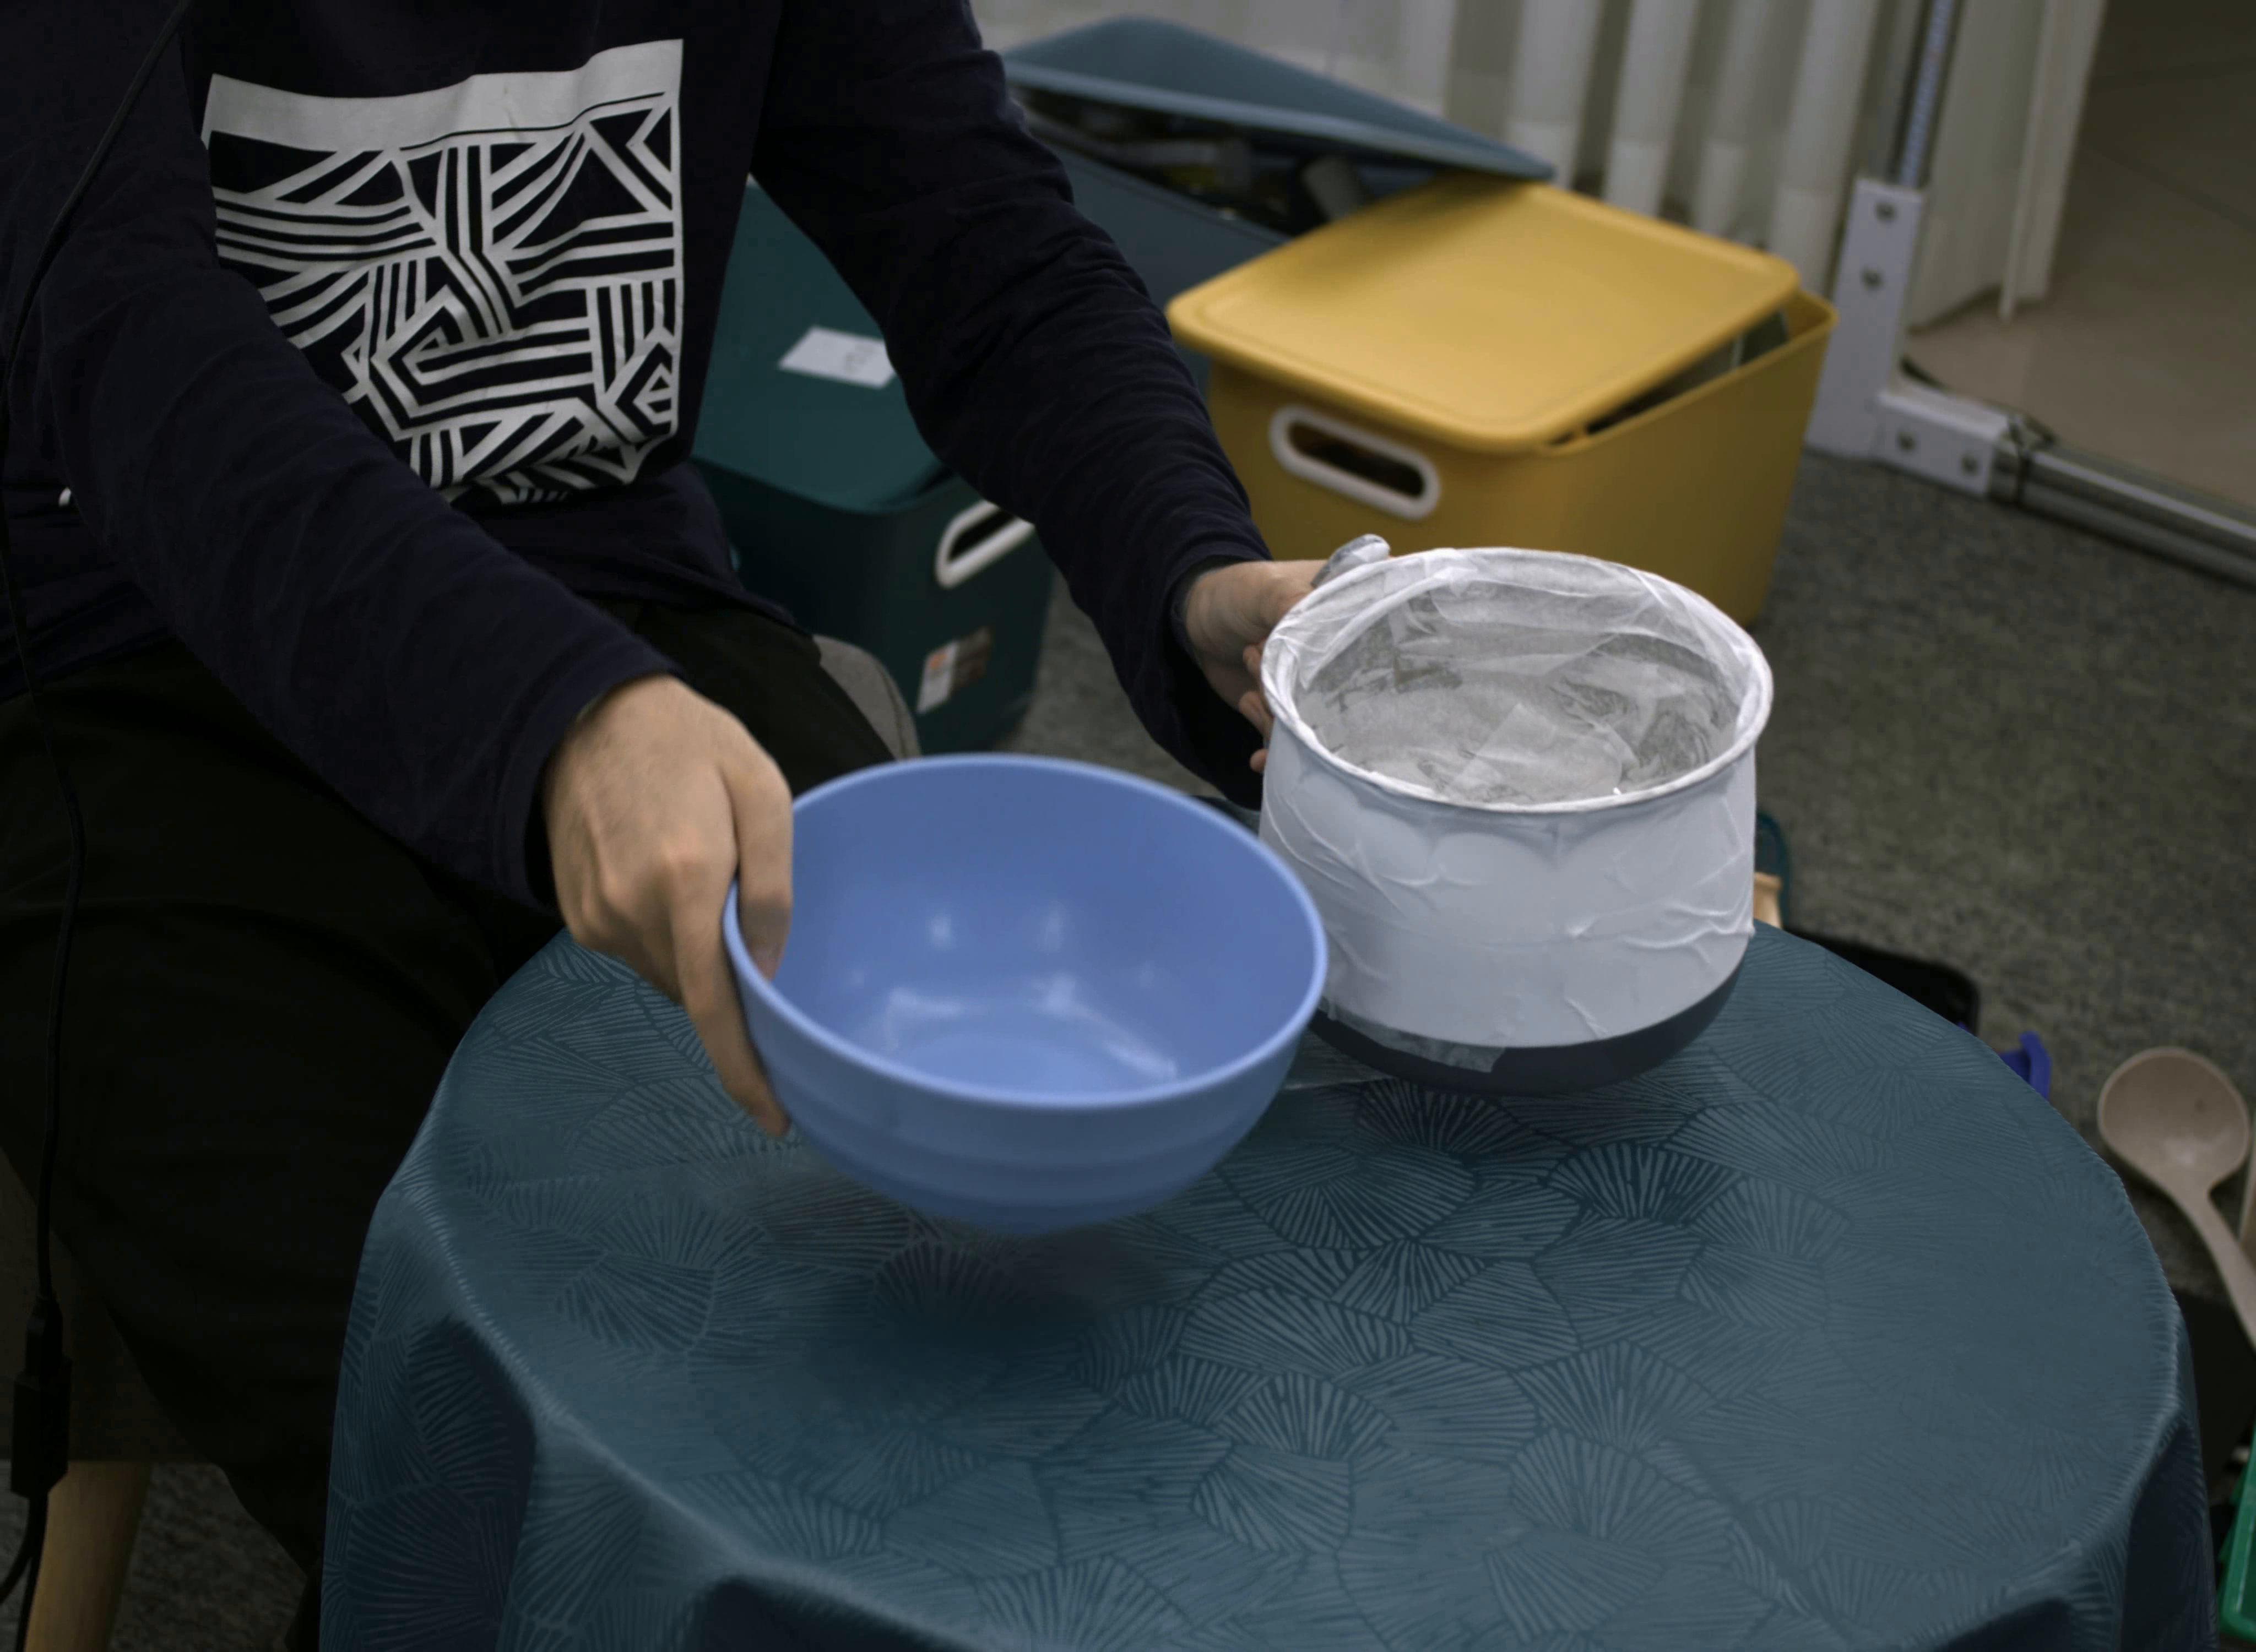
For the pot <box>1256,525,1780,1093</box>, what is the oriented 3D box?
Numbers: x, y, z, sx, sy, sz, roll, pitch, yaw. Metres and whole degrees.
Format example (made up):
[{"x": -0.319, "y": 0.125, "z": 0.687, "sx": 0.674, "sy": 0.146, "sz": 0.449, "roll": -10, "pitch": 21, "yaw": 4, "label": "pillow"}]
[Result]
[{"x": 0.119, "y": -0.014, "z": 1.890, "sx": 0.178, "sy": 0.136, "sz": 0.236, "roll": -14, "pitch": 36, "yaw": -27, "label": "pot"}]

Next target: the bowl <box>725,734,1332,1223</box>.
[{"x": -0.037, "y": 0.064, "z": 1.734, "sx": 0.196, "sy": 0.095, "sz": 0.198, "roll": 5, "pitch": 36, "yaw": -4, "label": "bowl"}]
